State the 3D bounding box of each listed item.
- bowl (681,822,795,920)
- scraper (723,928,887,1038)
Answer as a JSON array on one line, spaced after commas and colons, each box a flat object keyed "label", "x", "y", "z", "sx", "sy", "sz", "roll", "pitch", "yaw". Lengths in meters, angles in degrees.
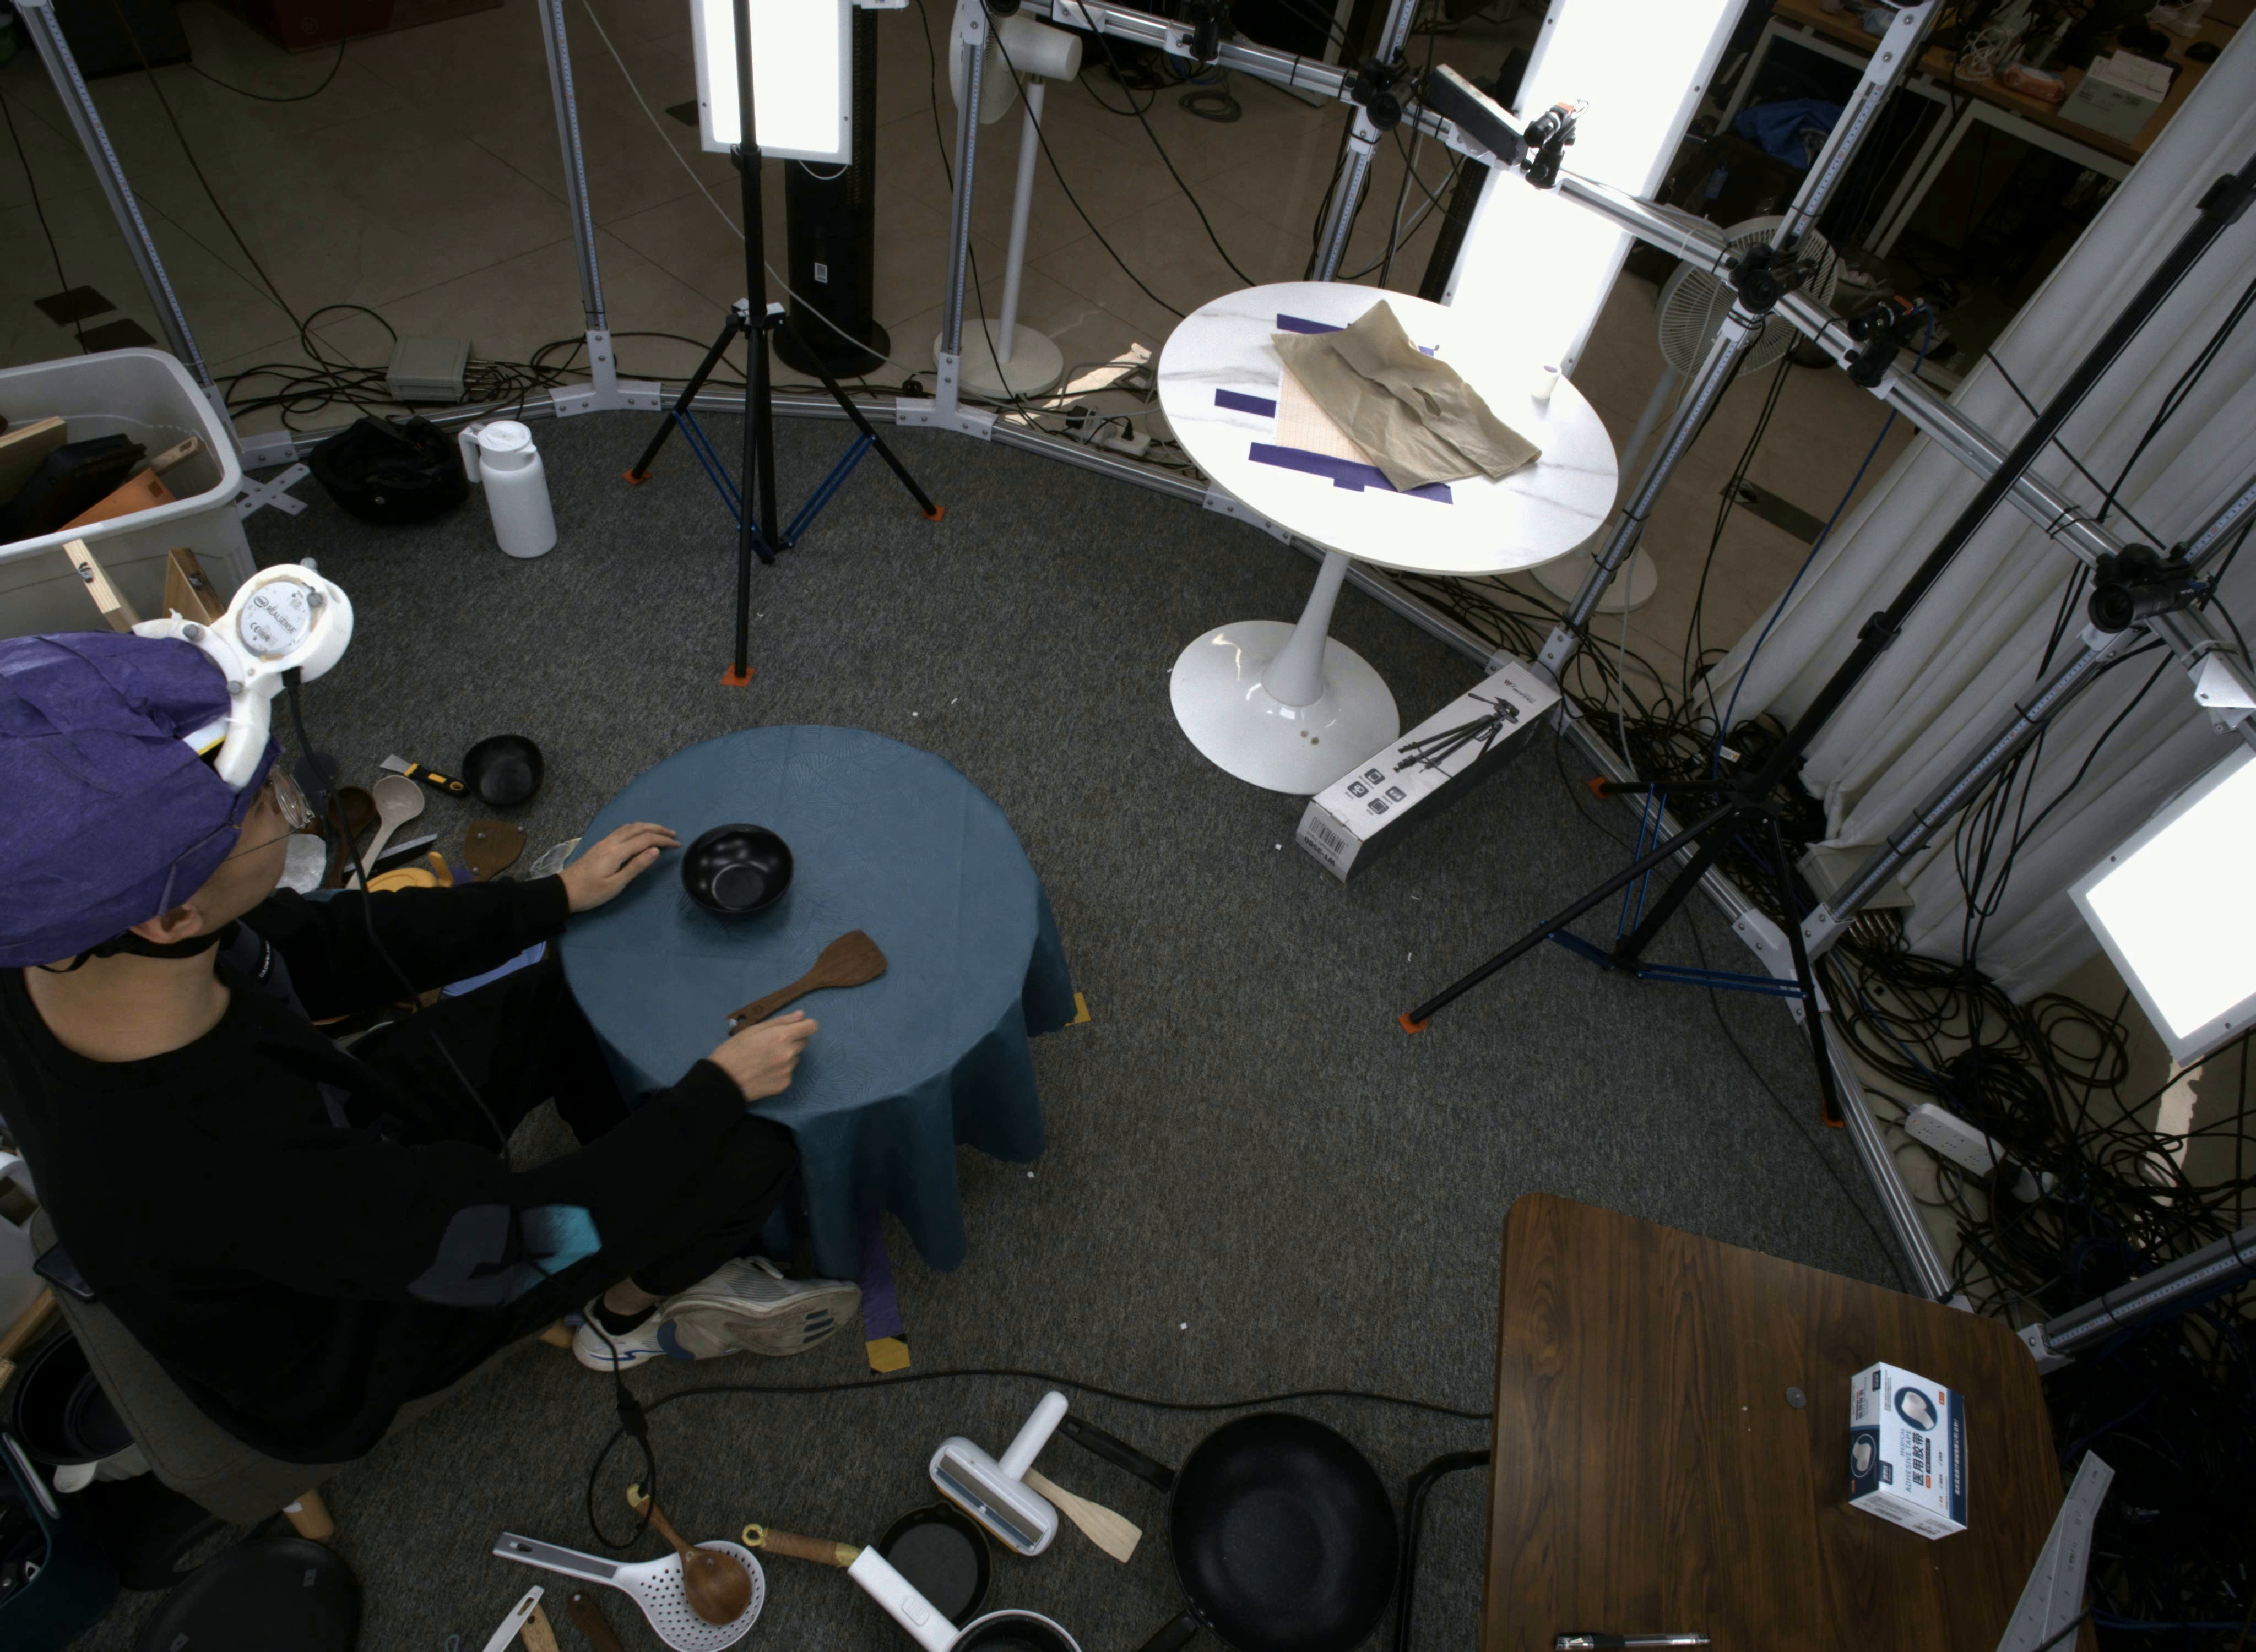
[{"label": "bowl", "x": -0.491, "y": 0.063, "z": 1.632, "sx": 0.140, "sy": 0.050, "sz": 0.137, "roll": 9, "pitch": 53, "yaw": -11}, {"label": "scraper", "x": -0.397, "y": 0.195, "z": 1.585, "sx": 0.212, "sy": 0.011, "sz": 0.074, "roll": -30, "pitch": 65, "yaw": -30}]
